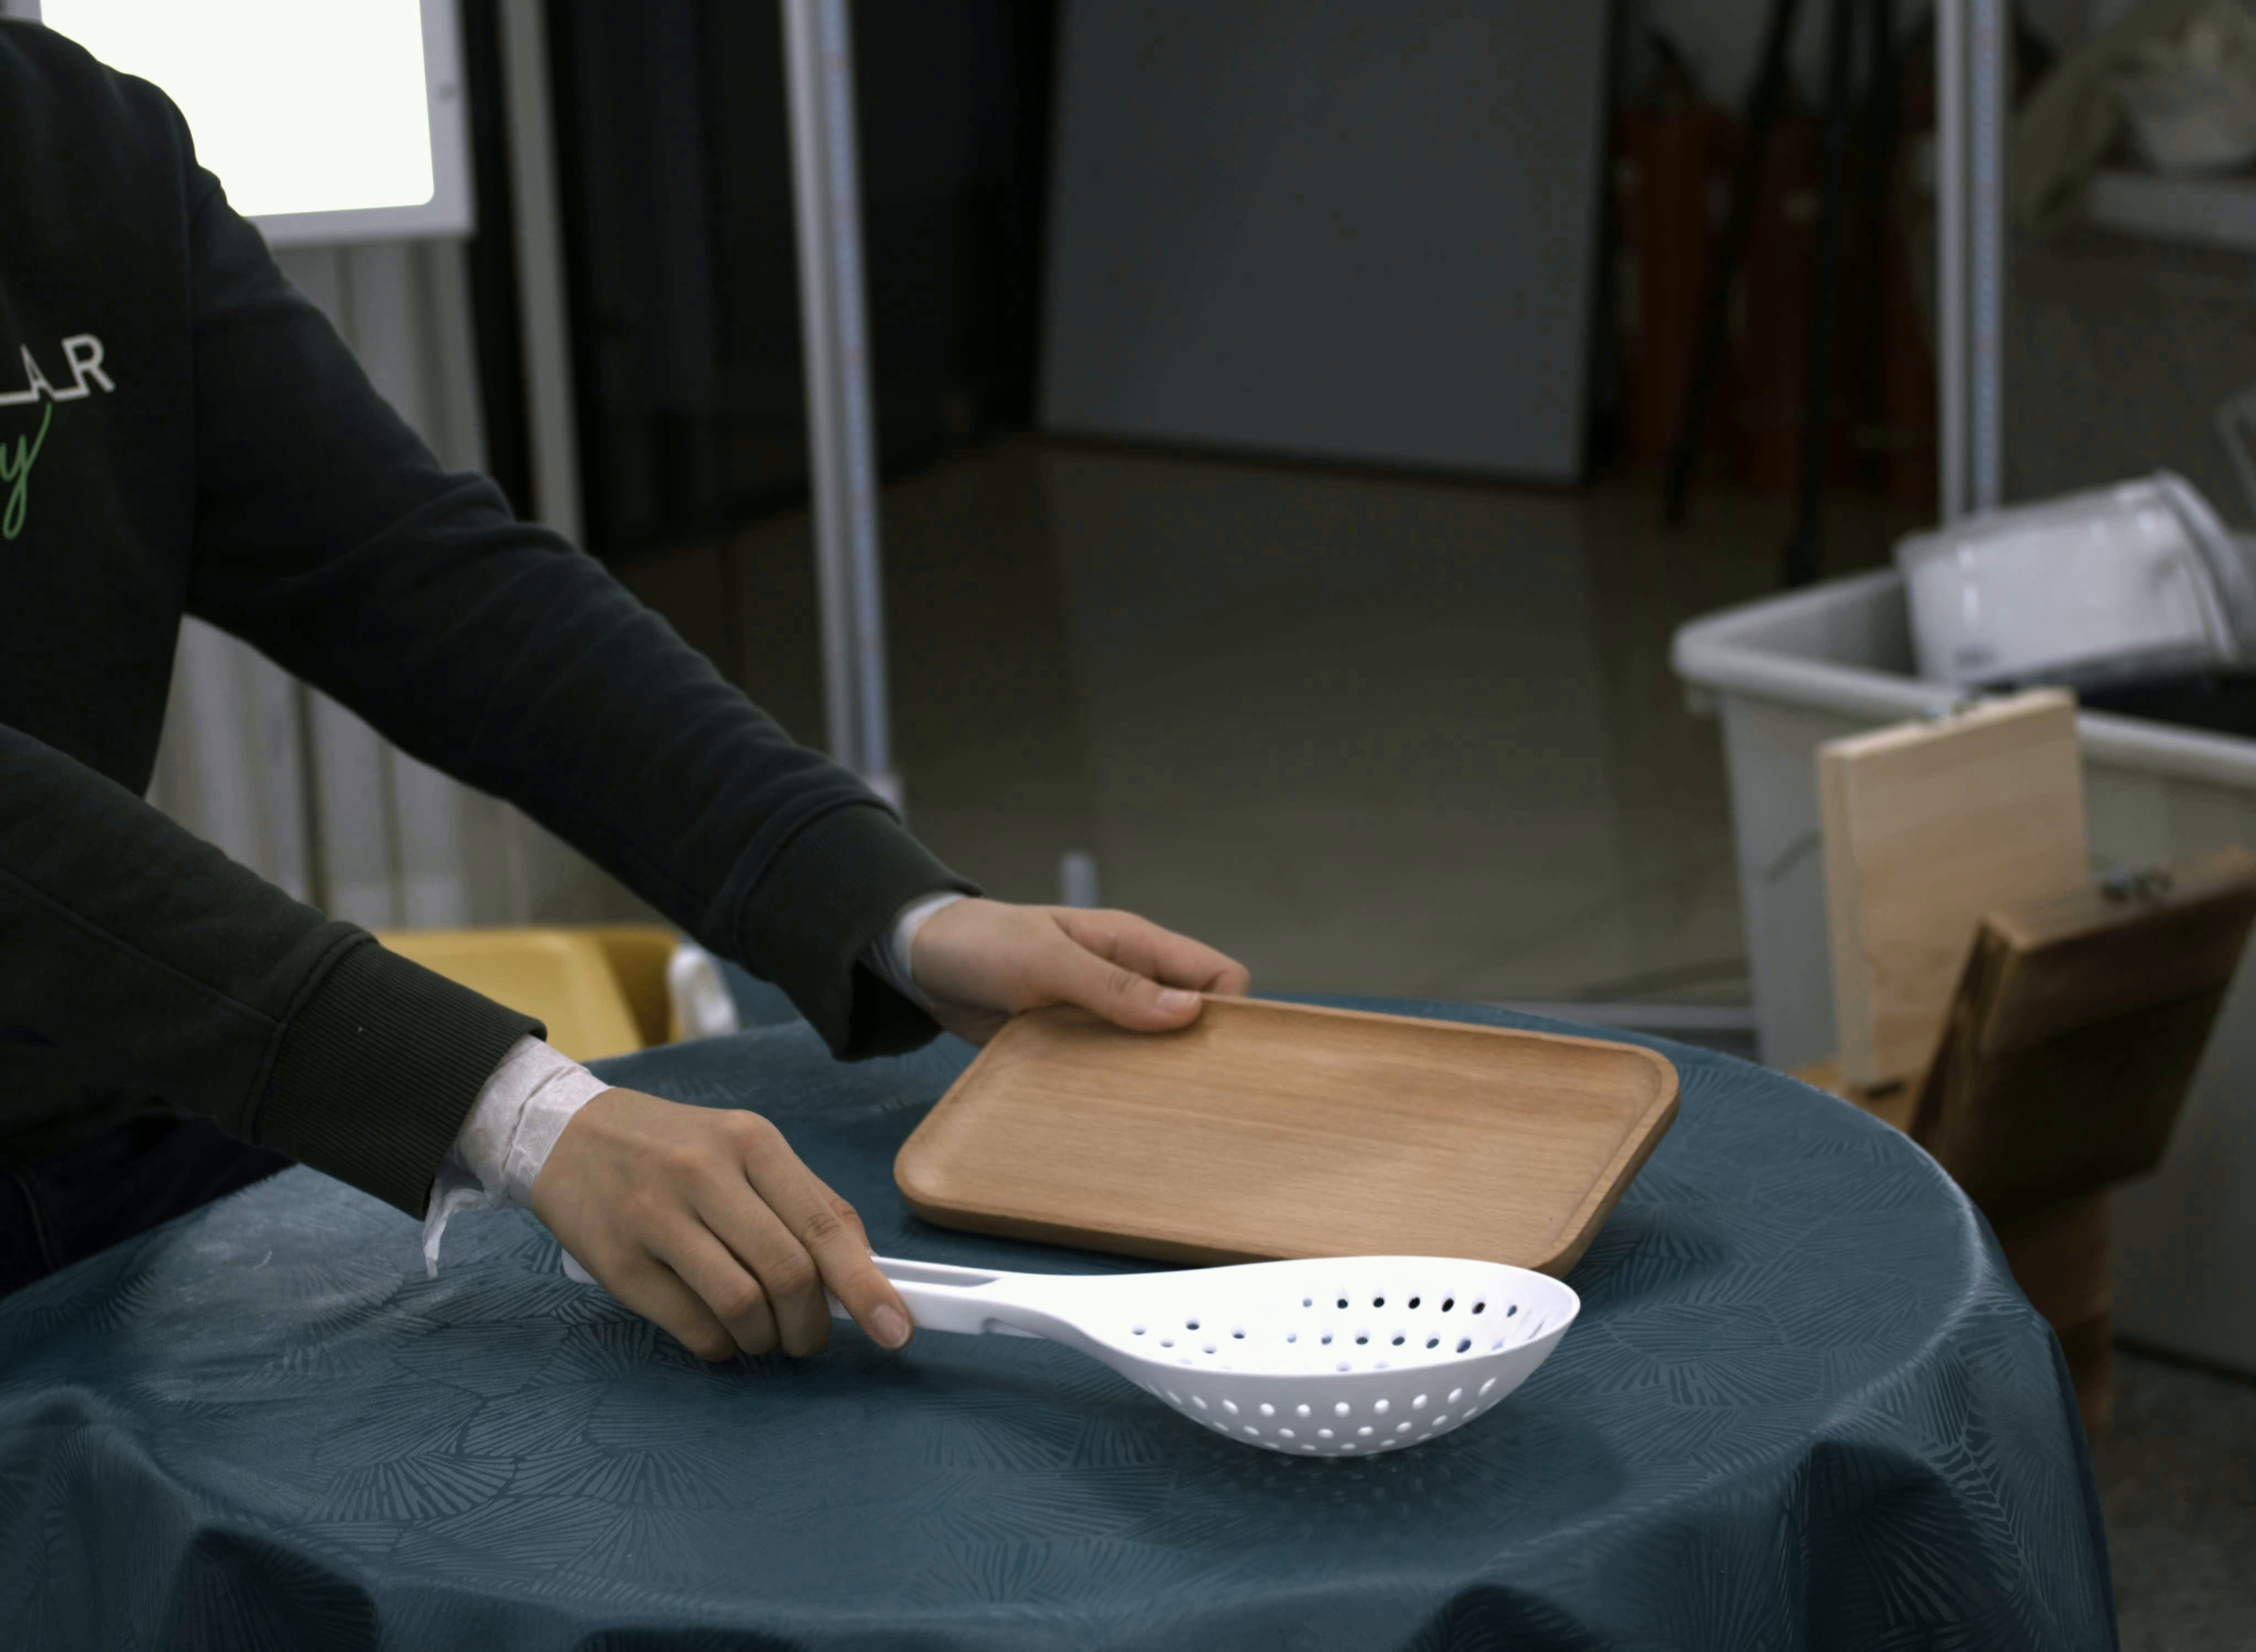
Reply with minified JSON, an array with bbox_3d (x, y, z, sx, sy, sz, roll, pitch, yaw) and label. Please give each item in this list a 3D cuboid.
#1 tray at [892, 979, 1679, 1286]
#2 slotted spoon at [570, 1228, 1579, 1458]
[{"bbox_3d":[0.049,0.100,1.726,0.252,0.023,0.129,5,34,33],"label":"tray"},{"bbox_3d":[-0.027,0.141,1.586,0.352,0.046,0.133,8,13,35],"label":"slotted spoon"}]
